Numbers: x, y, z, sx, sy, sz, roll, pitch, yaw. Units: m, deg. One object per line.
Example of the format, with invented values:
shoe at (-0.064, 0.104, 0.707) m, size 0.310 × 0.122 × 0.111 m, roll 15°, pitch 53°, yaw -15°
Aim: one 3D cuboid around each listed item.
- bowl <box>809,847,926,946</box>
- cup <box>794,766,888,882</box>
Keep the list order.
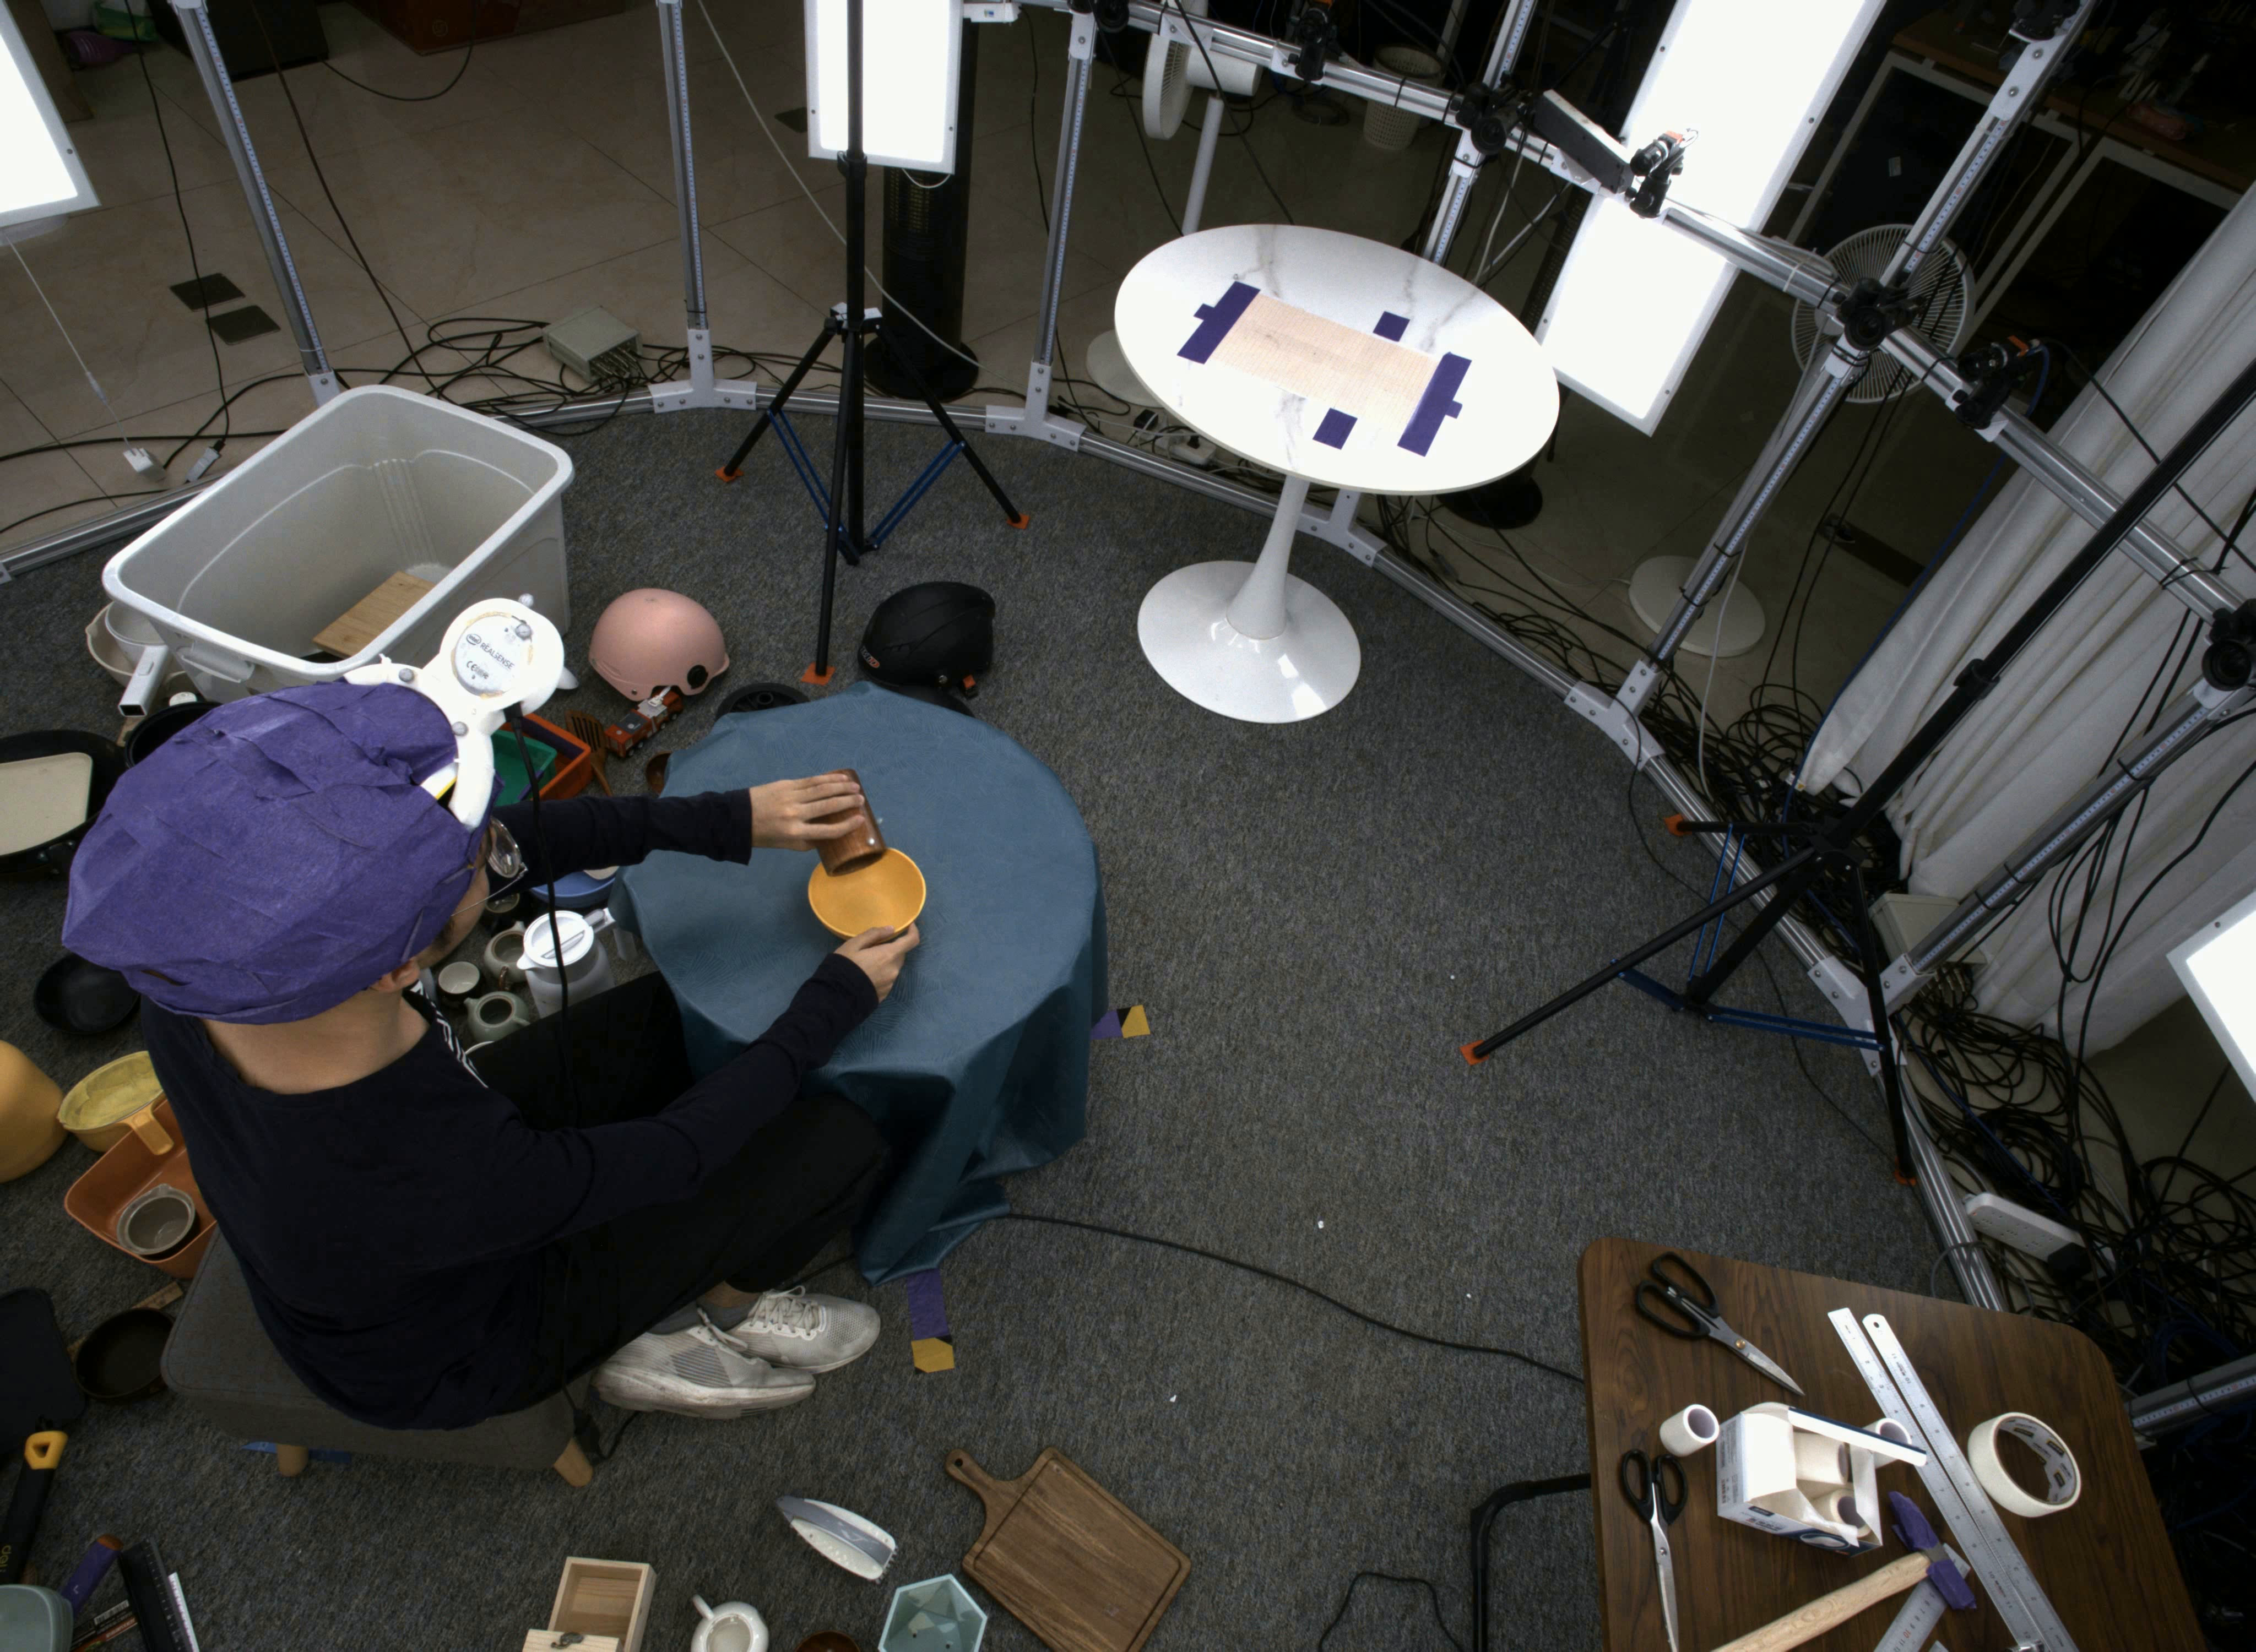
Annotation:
bowl at (-0.327, 0.097, 1.640) m, size 0.145 × 0.061 × 0.143 m, roll 6°, pitch 53°, yaw -7°
cup at (-0.354, -0.002, 1.598) m, size 0.088 × 0.088 × 0.117 m, roll -19°, pitch 76°, yaw -25°
